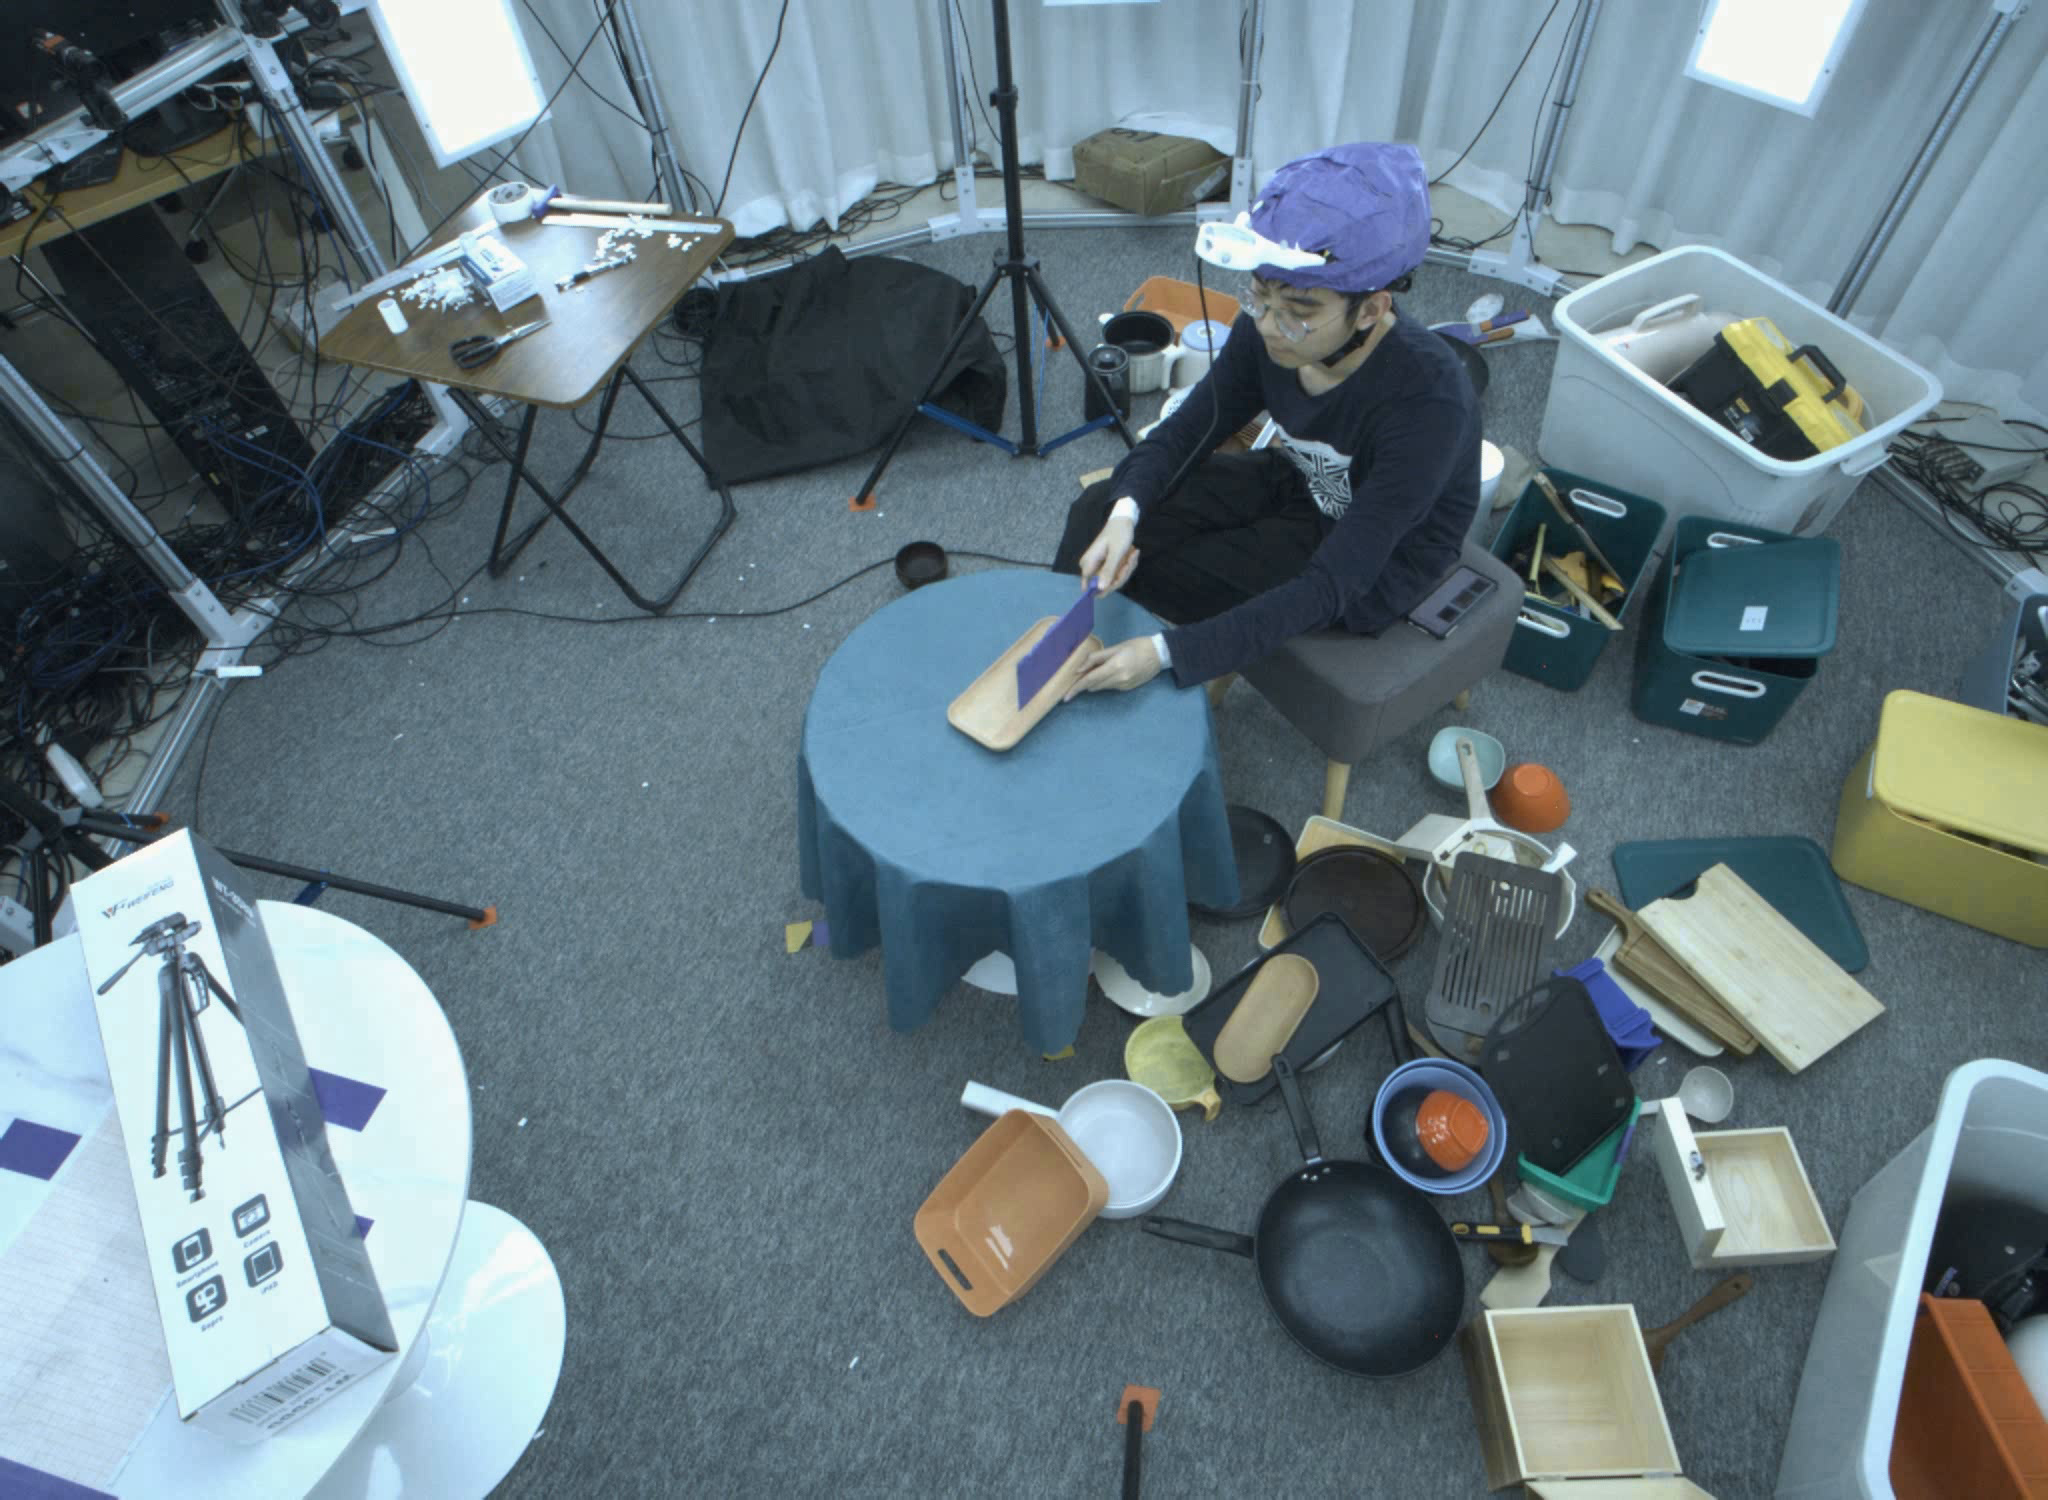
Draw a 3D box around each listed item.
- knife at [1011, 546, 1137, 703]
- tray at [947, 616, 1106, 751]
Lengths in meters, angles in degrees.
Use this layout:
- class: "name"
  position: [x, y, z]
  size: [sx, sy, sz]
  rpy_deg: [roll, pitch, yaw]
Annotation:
- class: "knife"
  position: [0.072, -0.188, 1.821]
  size: [0.031, 0.105, 0.317]
  rpy_deg: [27, 53, 23]
- class: "tray"
  position: [0.005, -0.102, 1.843]
  size: [0.128, 0.023, 0.252]
  rpy_deg: [36, 66, 26]
